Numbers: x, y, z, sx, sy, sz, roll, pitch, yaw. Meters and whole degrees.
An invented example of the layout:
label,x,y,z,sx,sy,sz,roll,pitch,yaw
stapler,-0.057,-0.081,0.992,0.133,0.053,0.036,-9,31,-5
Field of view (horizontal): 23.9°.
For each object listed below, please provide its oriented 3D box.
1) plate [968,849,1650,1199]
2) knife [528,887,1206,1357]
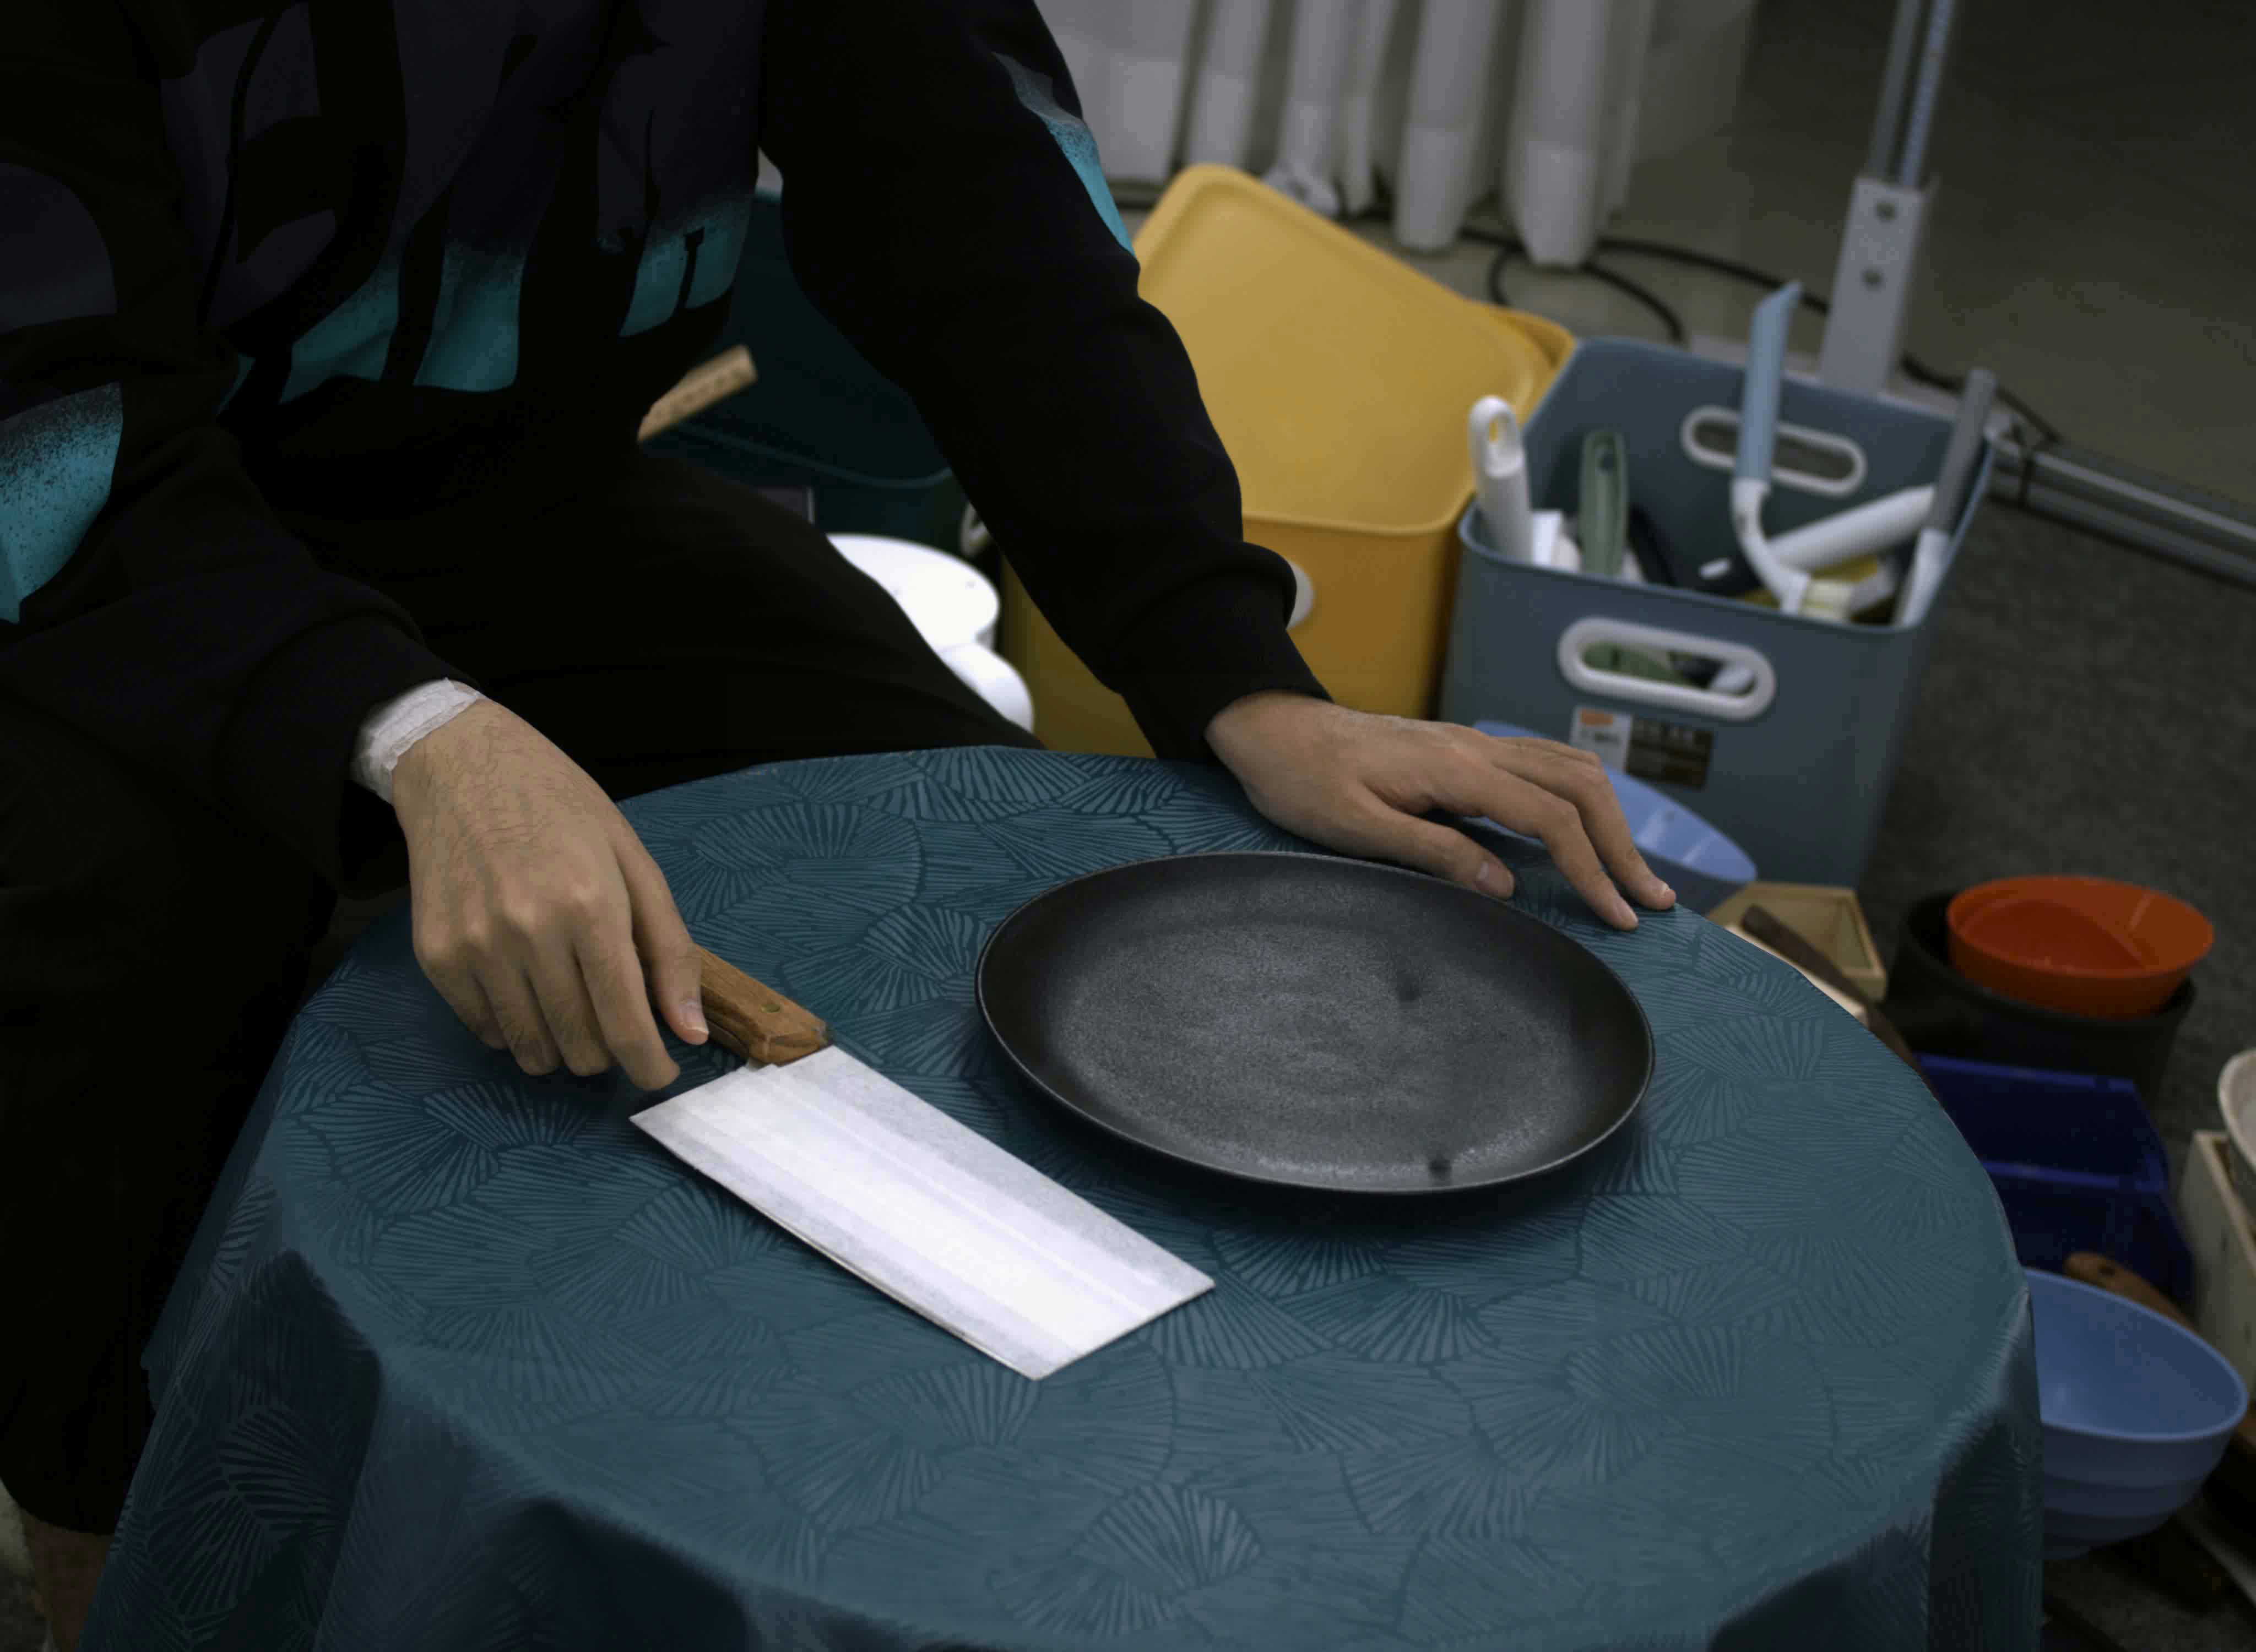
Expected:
label,x,y,z,sx,sy,sz,roll,pitch,yaw
plate,0.064,0.075,1.886,0.243,0.023,0.246,5,27,-3
knife,-0.111,0.101,1.806,0.308,0.021,0.092,29,36,33
